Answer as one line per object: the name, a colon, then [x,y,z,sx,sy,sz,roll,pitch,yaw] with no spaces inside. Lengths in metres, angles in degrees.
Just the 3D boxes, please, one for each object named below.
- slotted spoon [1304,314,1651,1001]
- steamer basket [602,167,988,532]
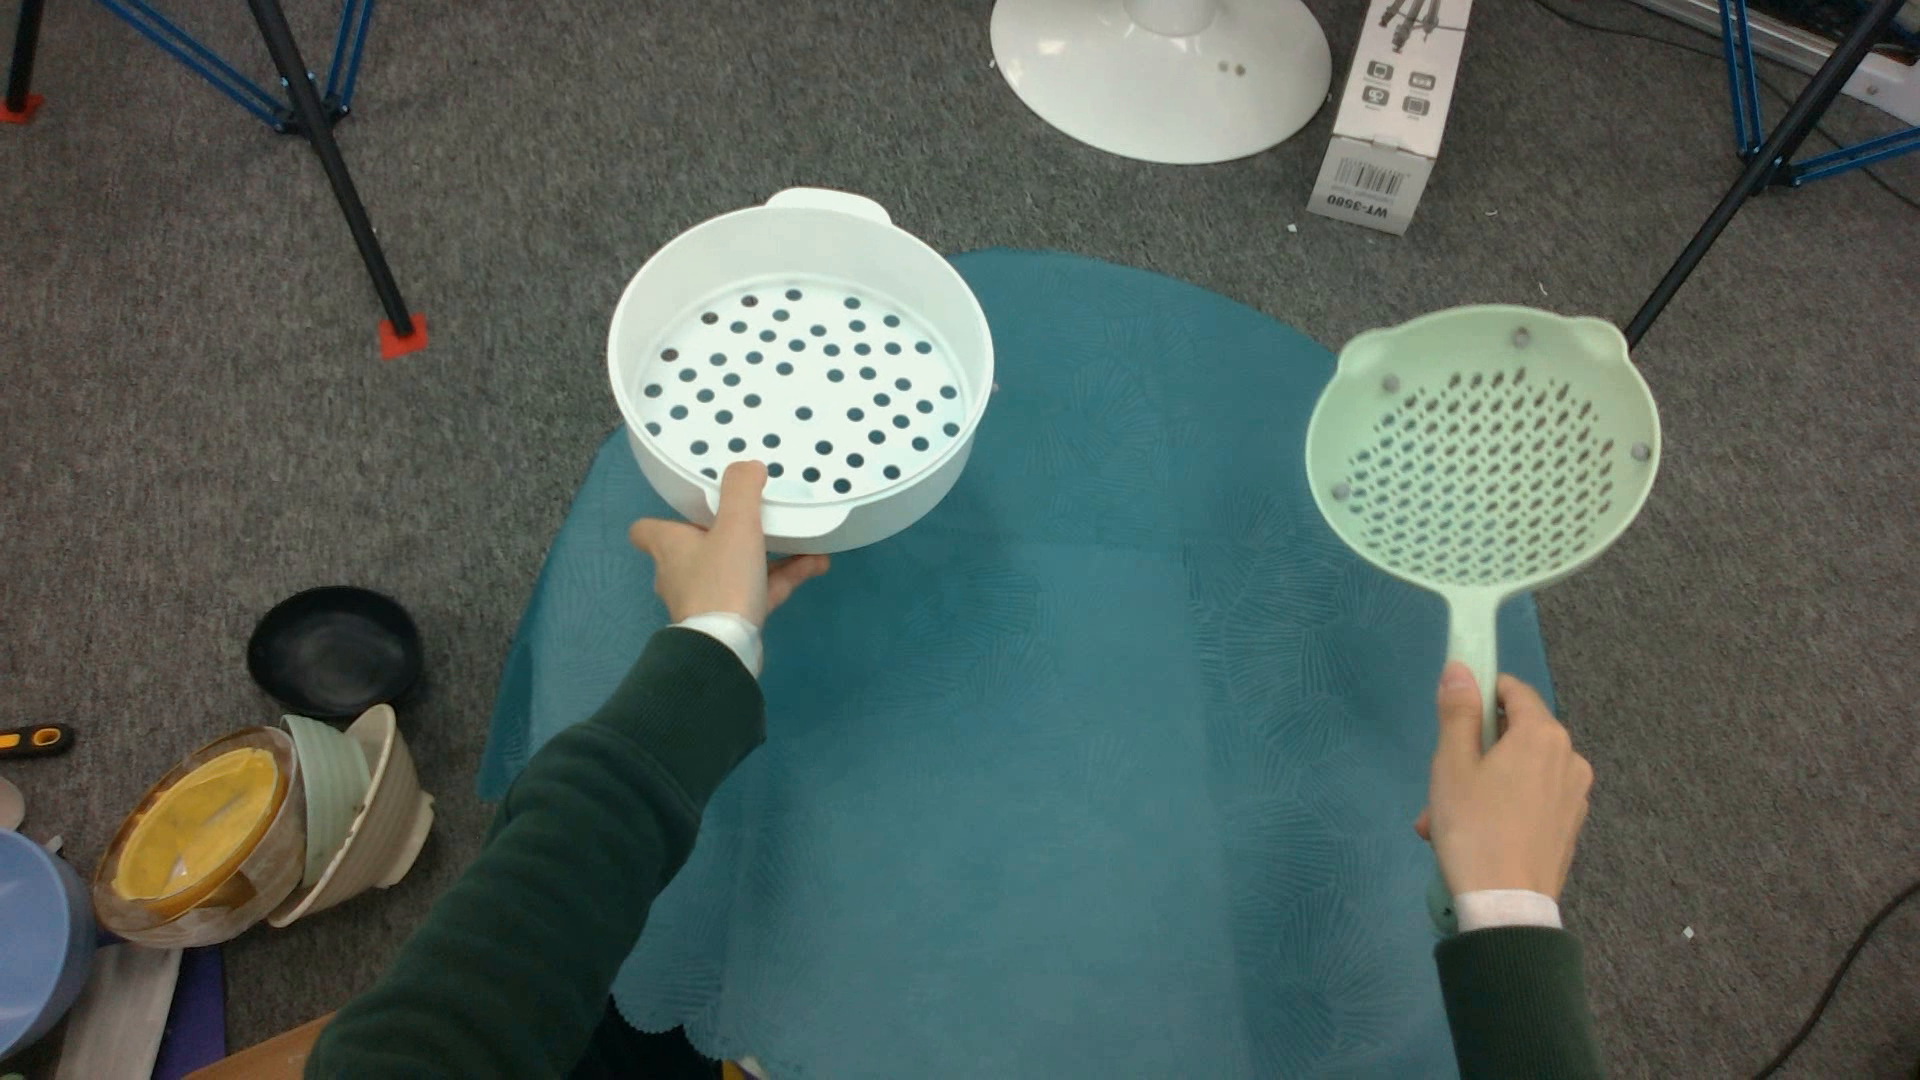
slotted spoon: [0.250,0.039,0.679,0.169,0.075,0.360,-2,50,25]
steamer basket: [-0.088,-0.099,0.750,0.202,0.069,0.231,6,59,-4]
